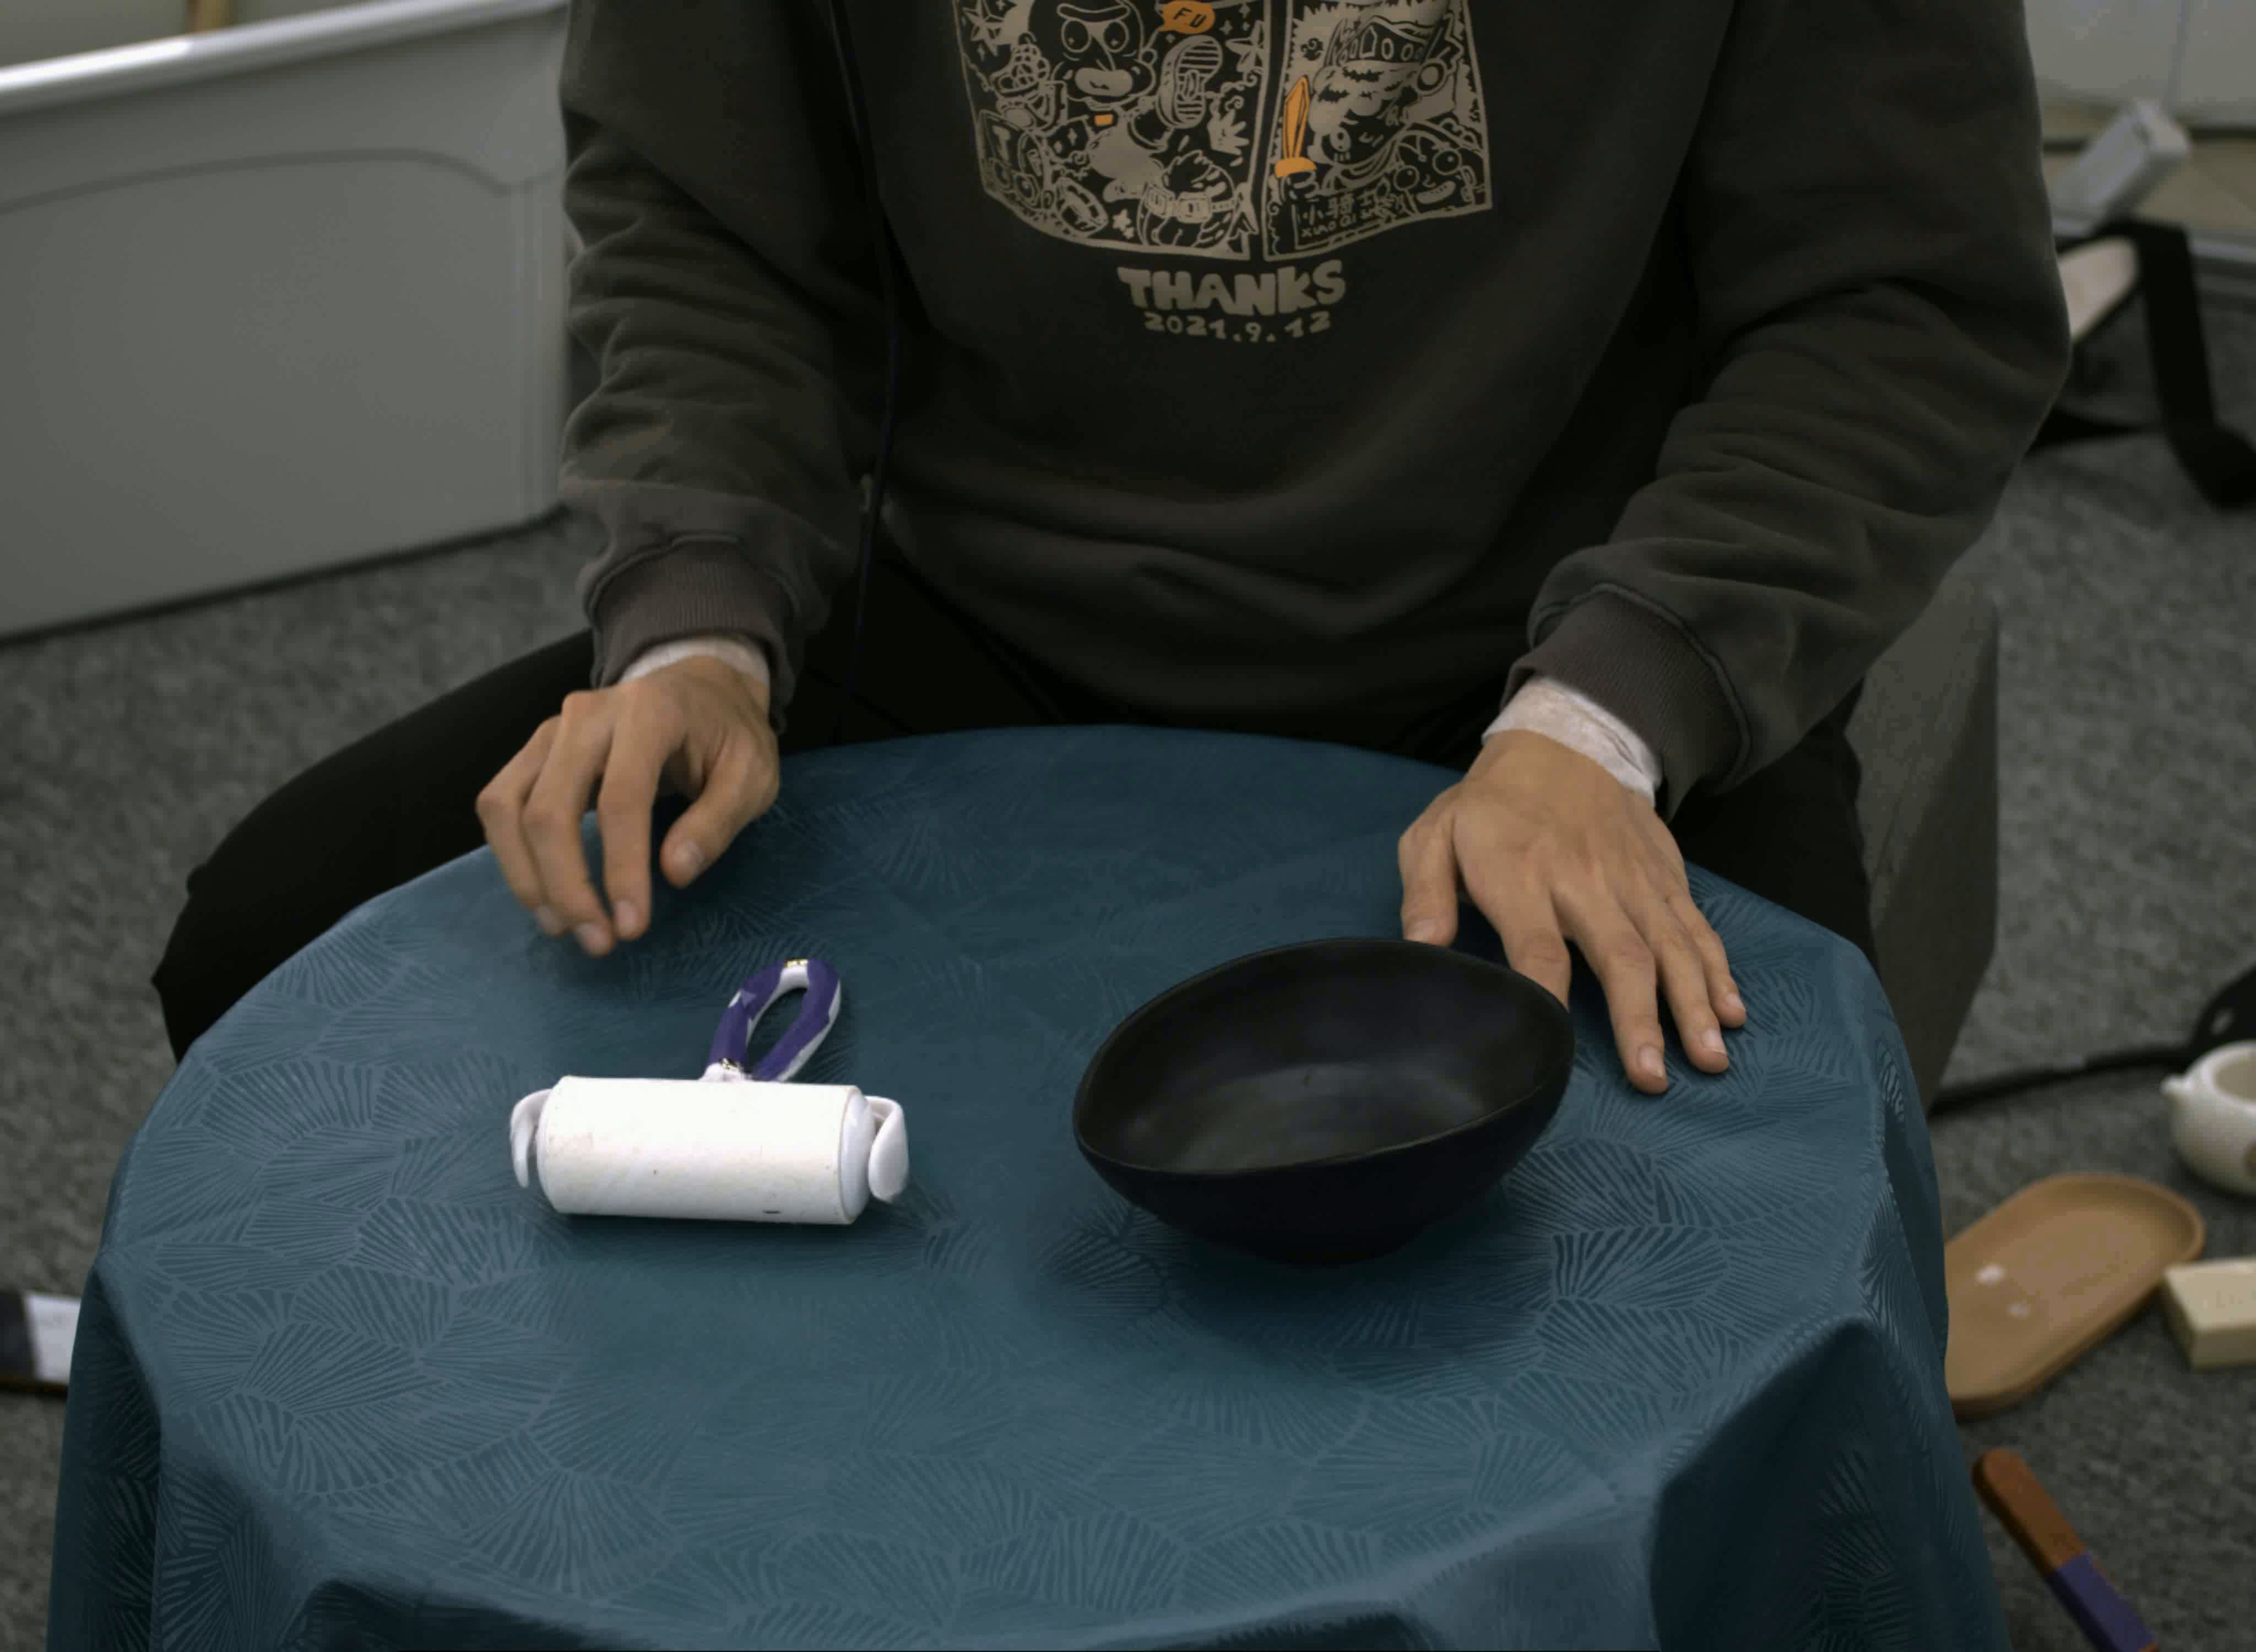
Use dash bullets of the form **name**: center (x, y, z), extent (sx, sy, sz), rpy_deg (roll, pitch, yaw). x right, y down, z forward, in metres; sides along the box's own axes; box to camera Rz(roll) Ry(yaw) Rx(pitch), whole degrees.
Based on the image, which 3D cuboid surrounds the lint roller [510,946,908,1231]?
- **lint roller**: center (-0.127, 0.076, 1.909), extent (0.132, 0.049, 0.184), rpy_deg (2, 31, 11)

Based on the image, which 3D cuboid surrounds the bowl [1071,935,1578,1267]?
- **bowl**: center (0.066, 0.100, 1.829), extent (0.171, 0.066, 0.138), rpy_deg (-15, 28, -18)
